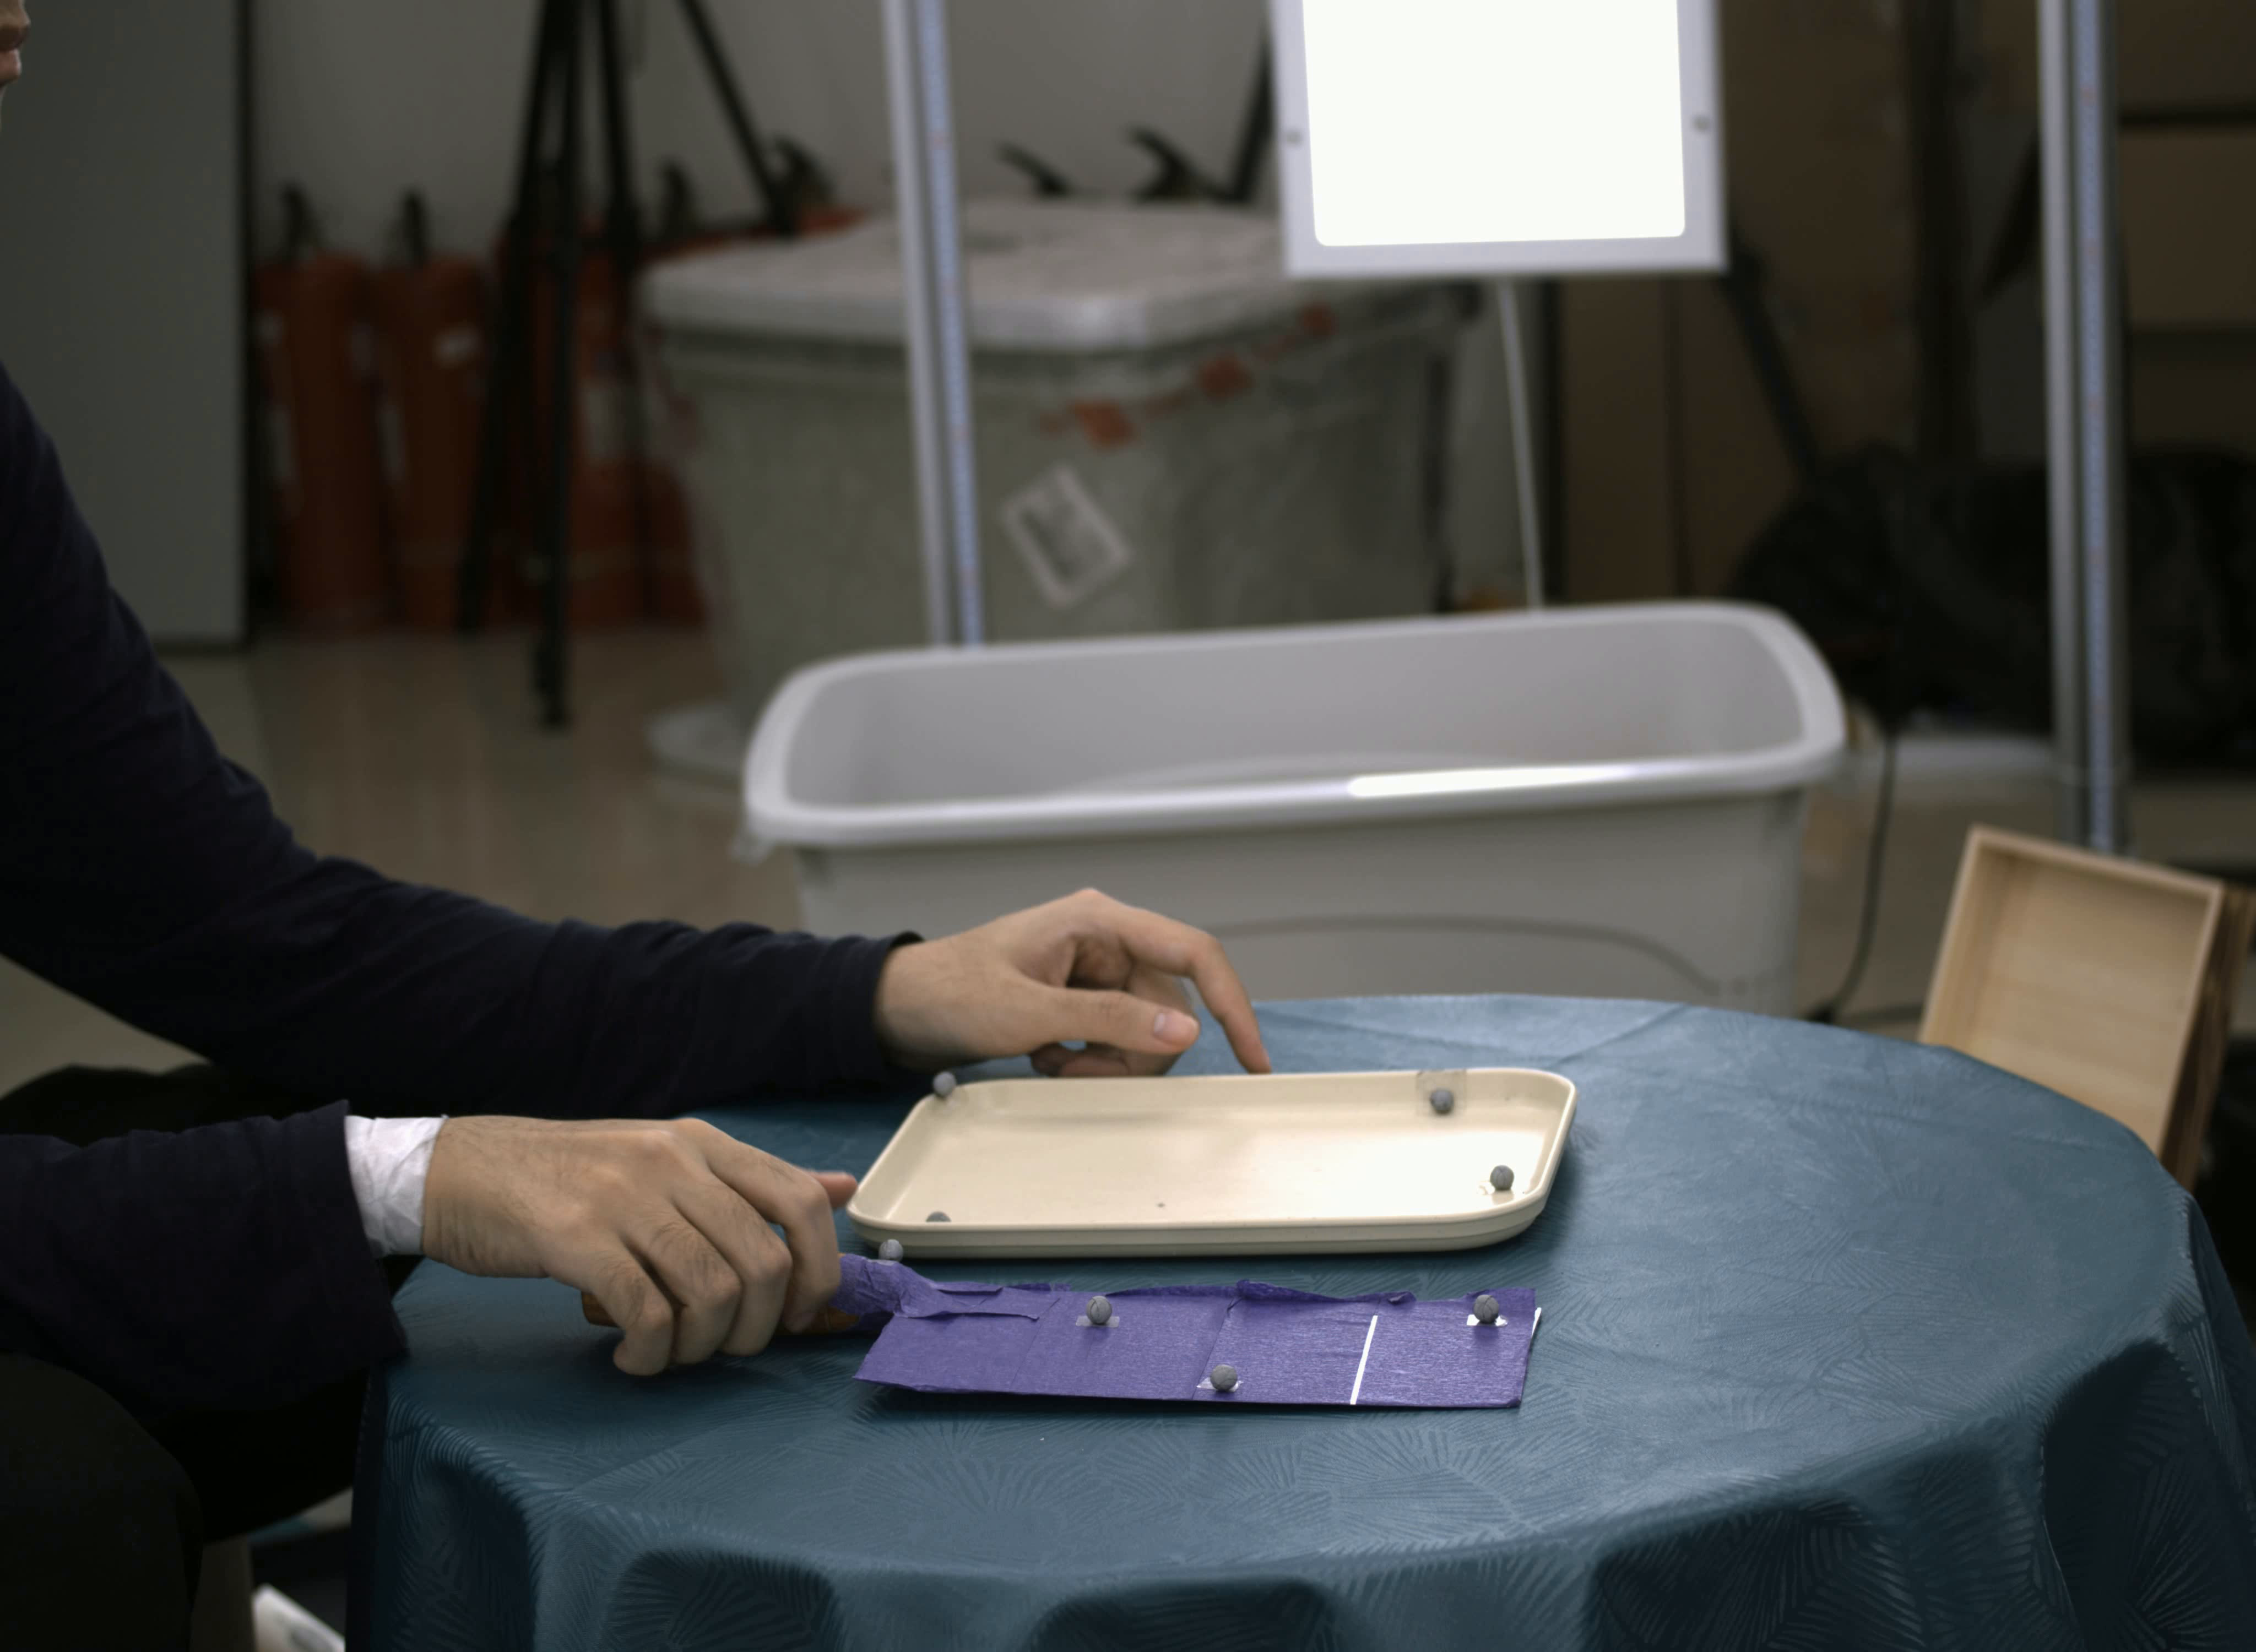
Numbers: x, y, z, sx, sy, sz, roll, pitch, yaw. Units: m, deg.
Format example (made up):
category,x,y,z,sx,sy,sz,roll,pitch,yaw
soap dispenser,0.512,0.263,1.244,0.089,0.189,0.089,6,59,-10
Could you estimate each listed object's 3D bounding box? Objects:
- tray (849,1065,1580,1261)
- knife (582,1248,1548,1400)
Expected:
category,x,y,z,sx,sy,sz,roll,pitch,yaw
tray,0.032,0.117,1.893,0.241,0.017,0.169,-2,14,13
knife,-0.026,0.157,1.733,0.317,0.032,0.102,-2,14,13
